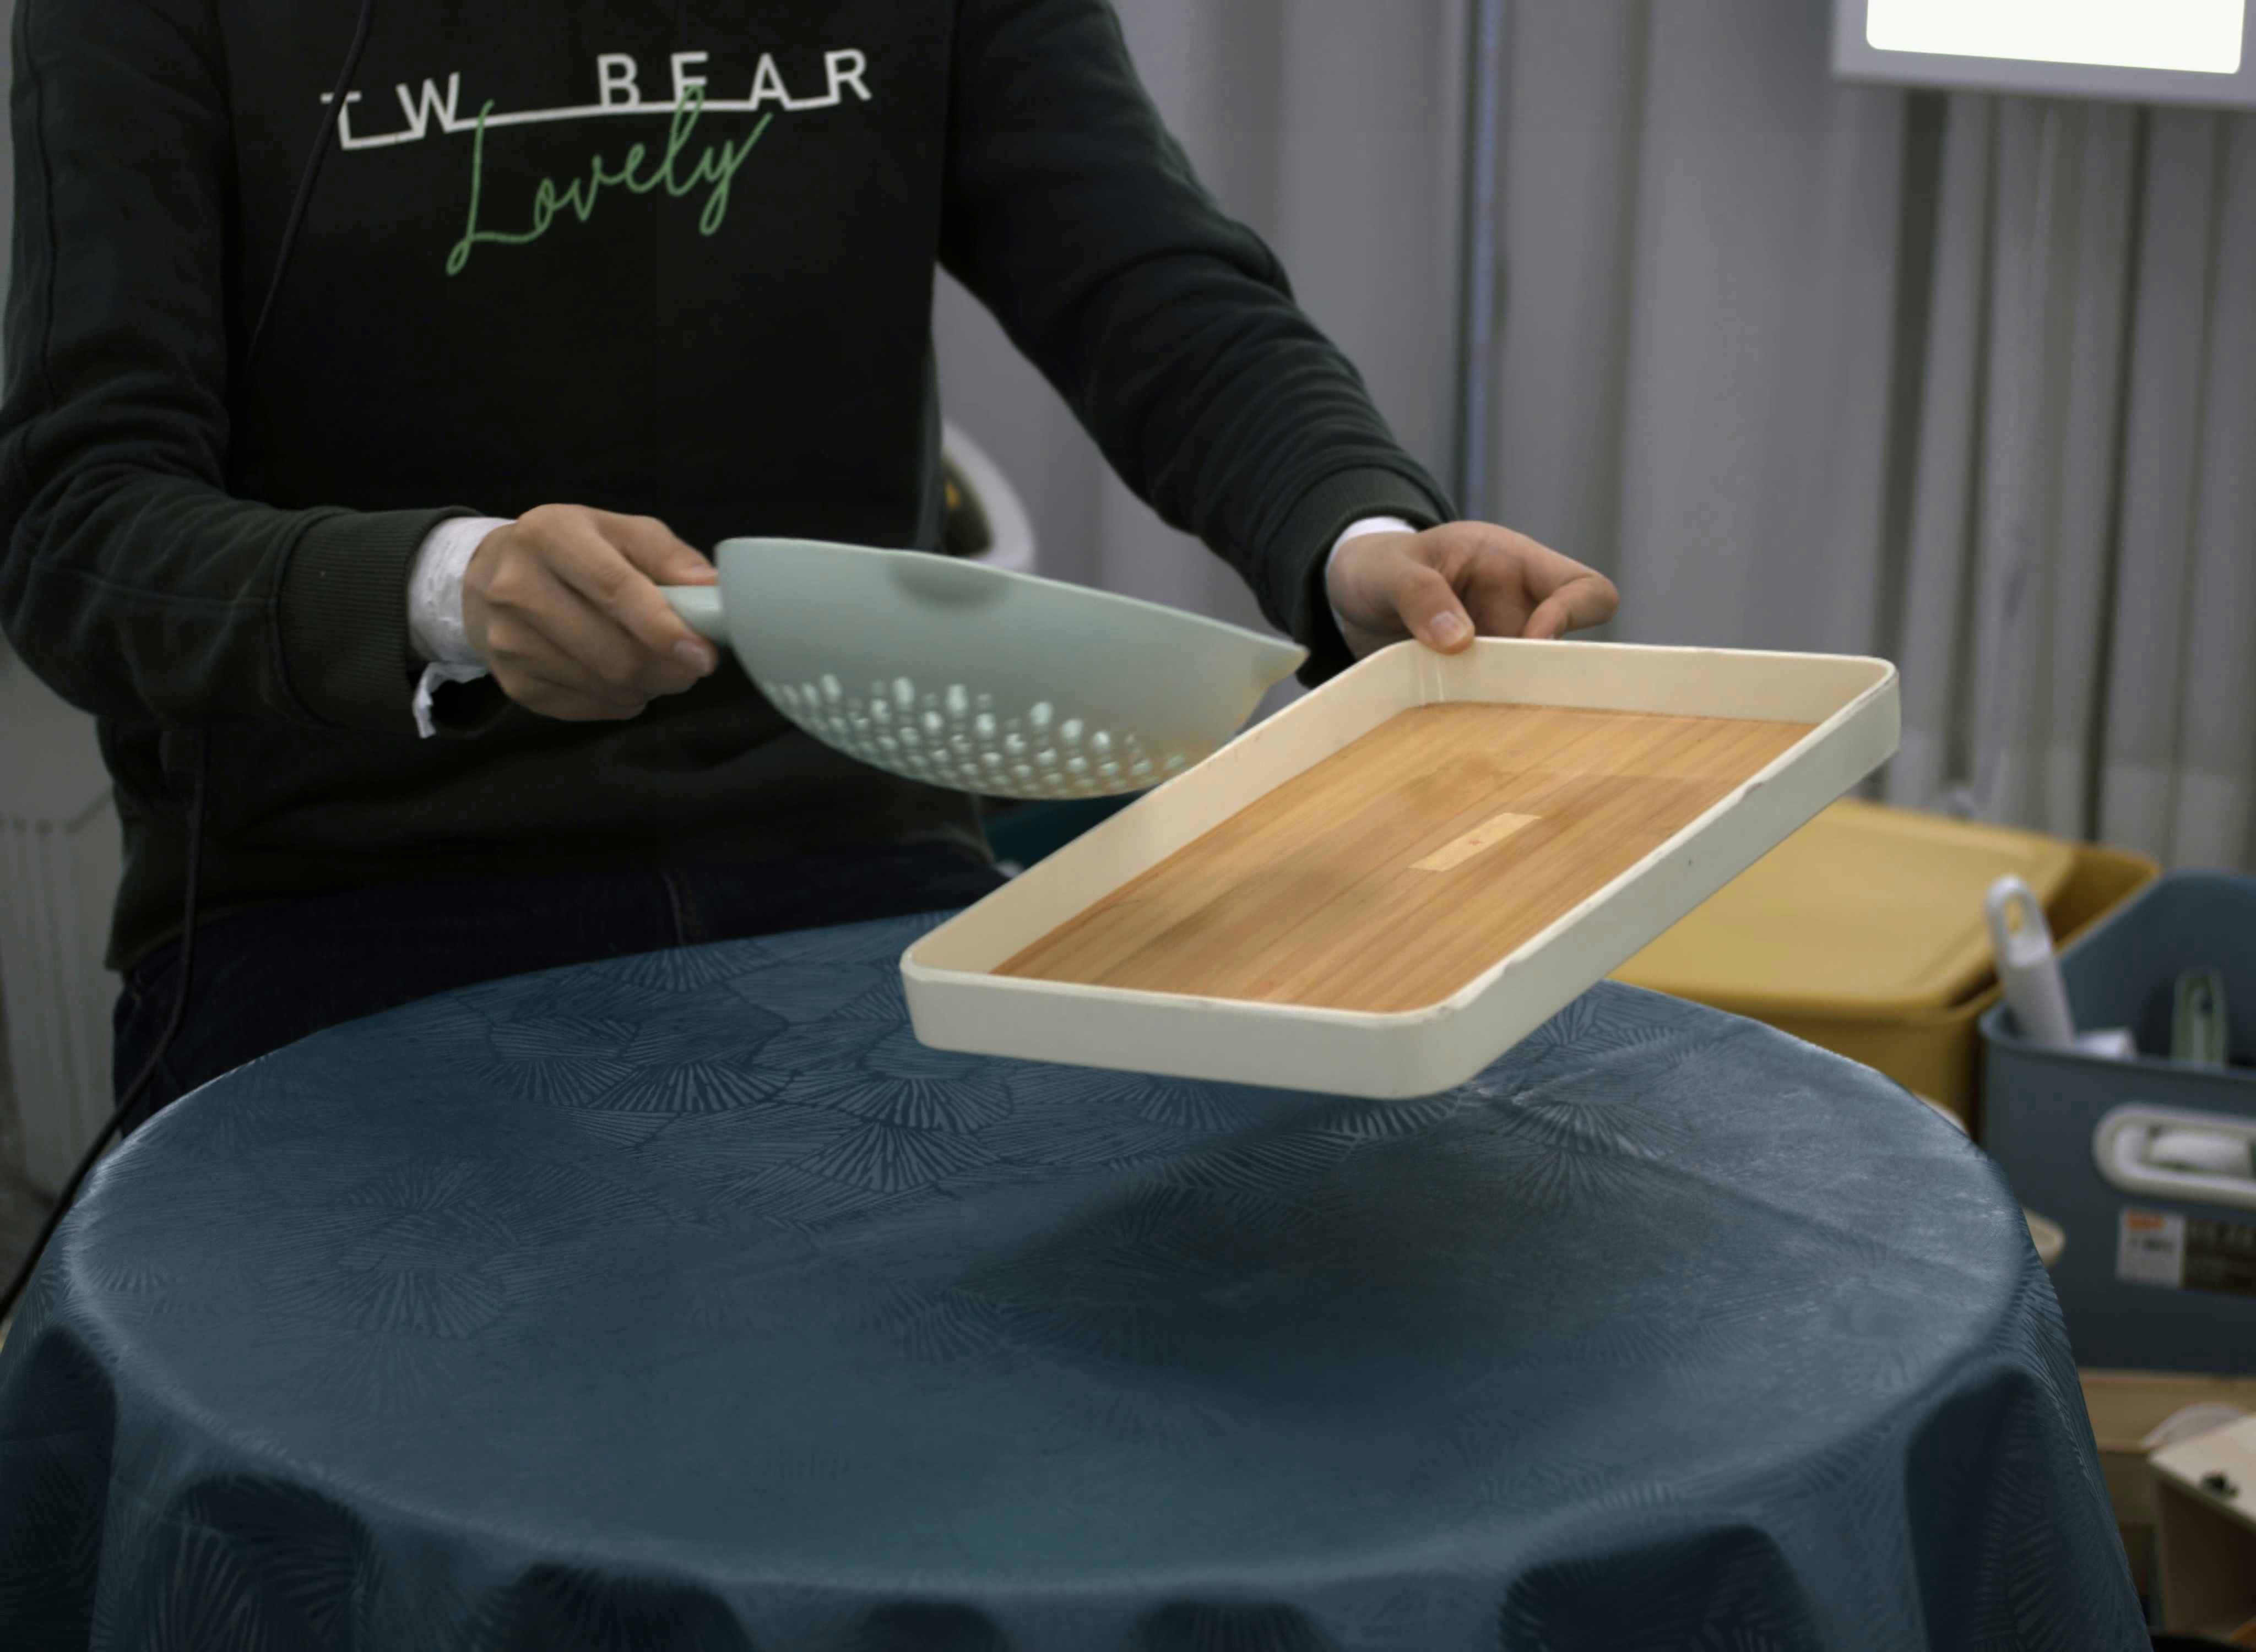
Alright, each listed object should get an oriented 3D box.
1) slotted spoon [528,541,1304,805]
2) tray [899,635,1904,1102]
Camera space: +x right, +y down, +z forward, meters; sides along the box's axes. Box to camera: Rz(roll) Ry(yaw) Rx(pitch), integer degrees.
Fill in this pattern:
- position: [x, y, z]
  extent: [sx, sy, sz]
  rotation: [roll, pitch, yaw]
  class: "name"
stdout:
- position: [-0.095, -0.059, 1.620]
  extent: [0.171, 0.075, 0.354]
  rotation: [14, 4, -34]
  class: "slotted spoon"
- position: [0.088, 0.007, 1.583]
  extent: [0.189, 0.027, 0.301]
  rotation: [5, 23, 35]
  class: "tray"
